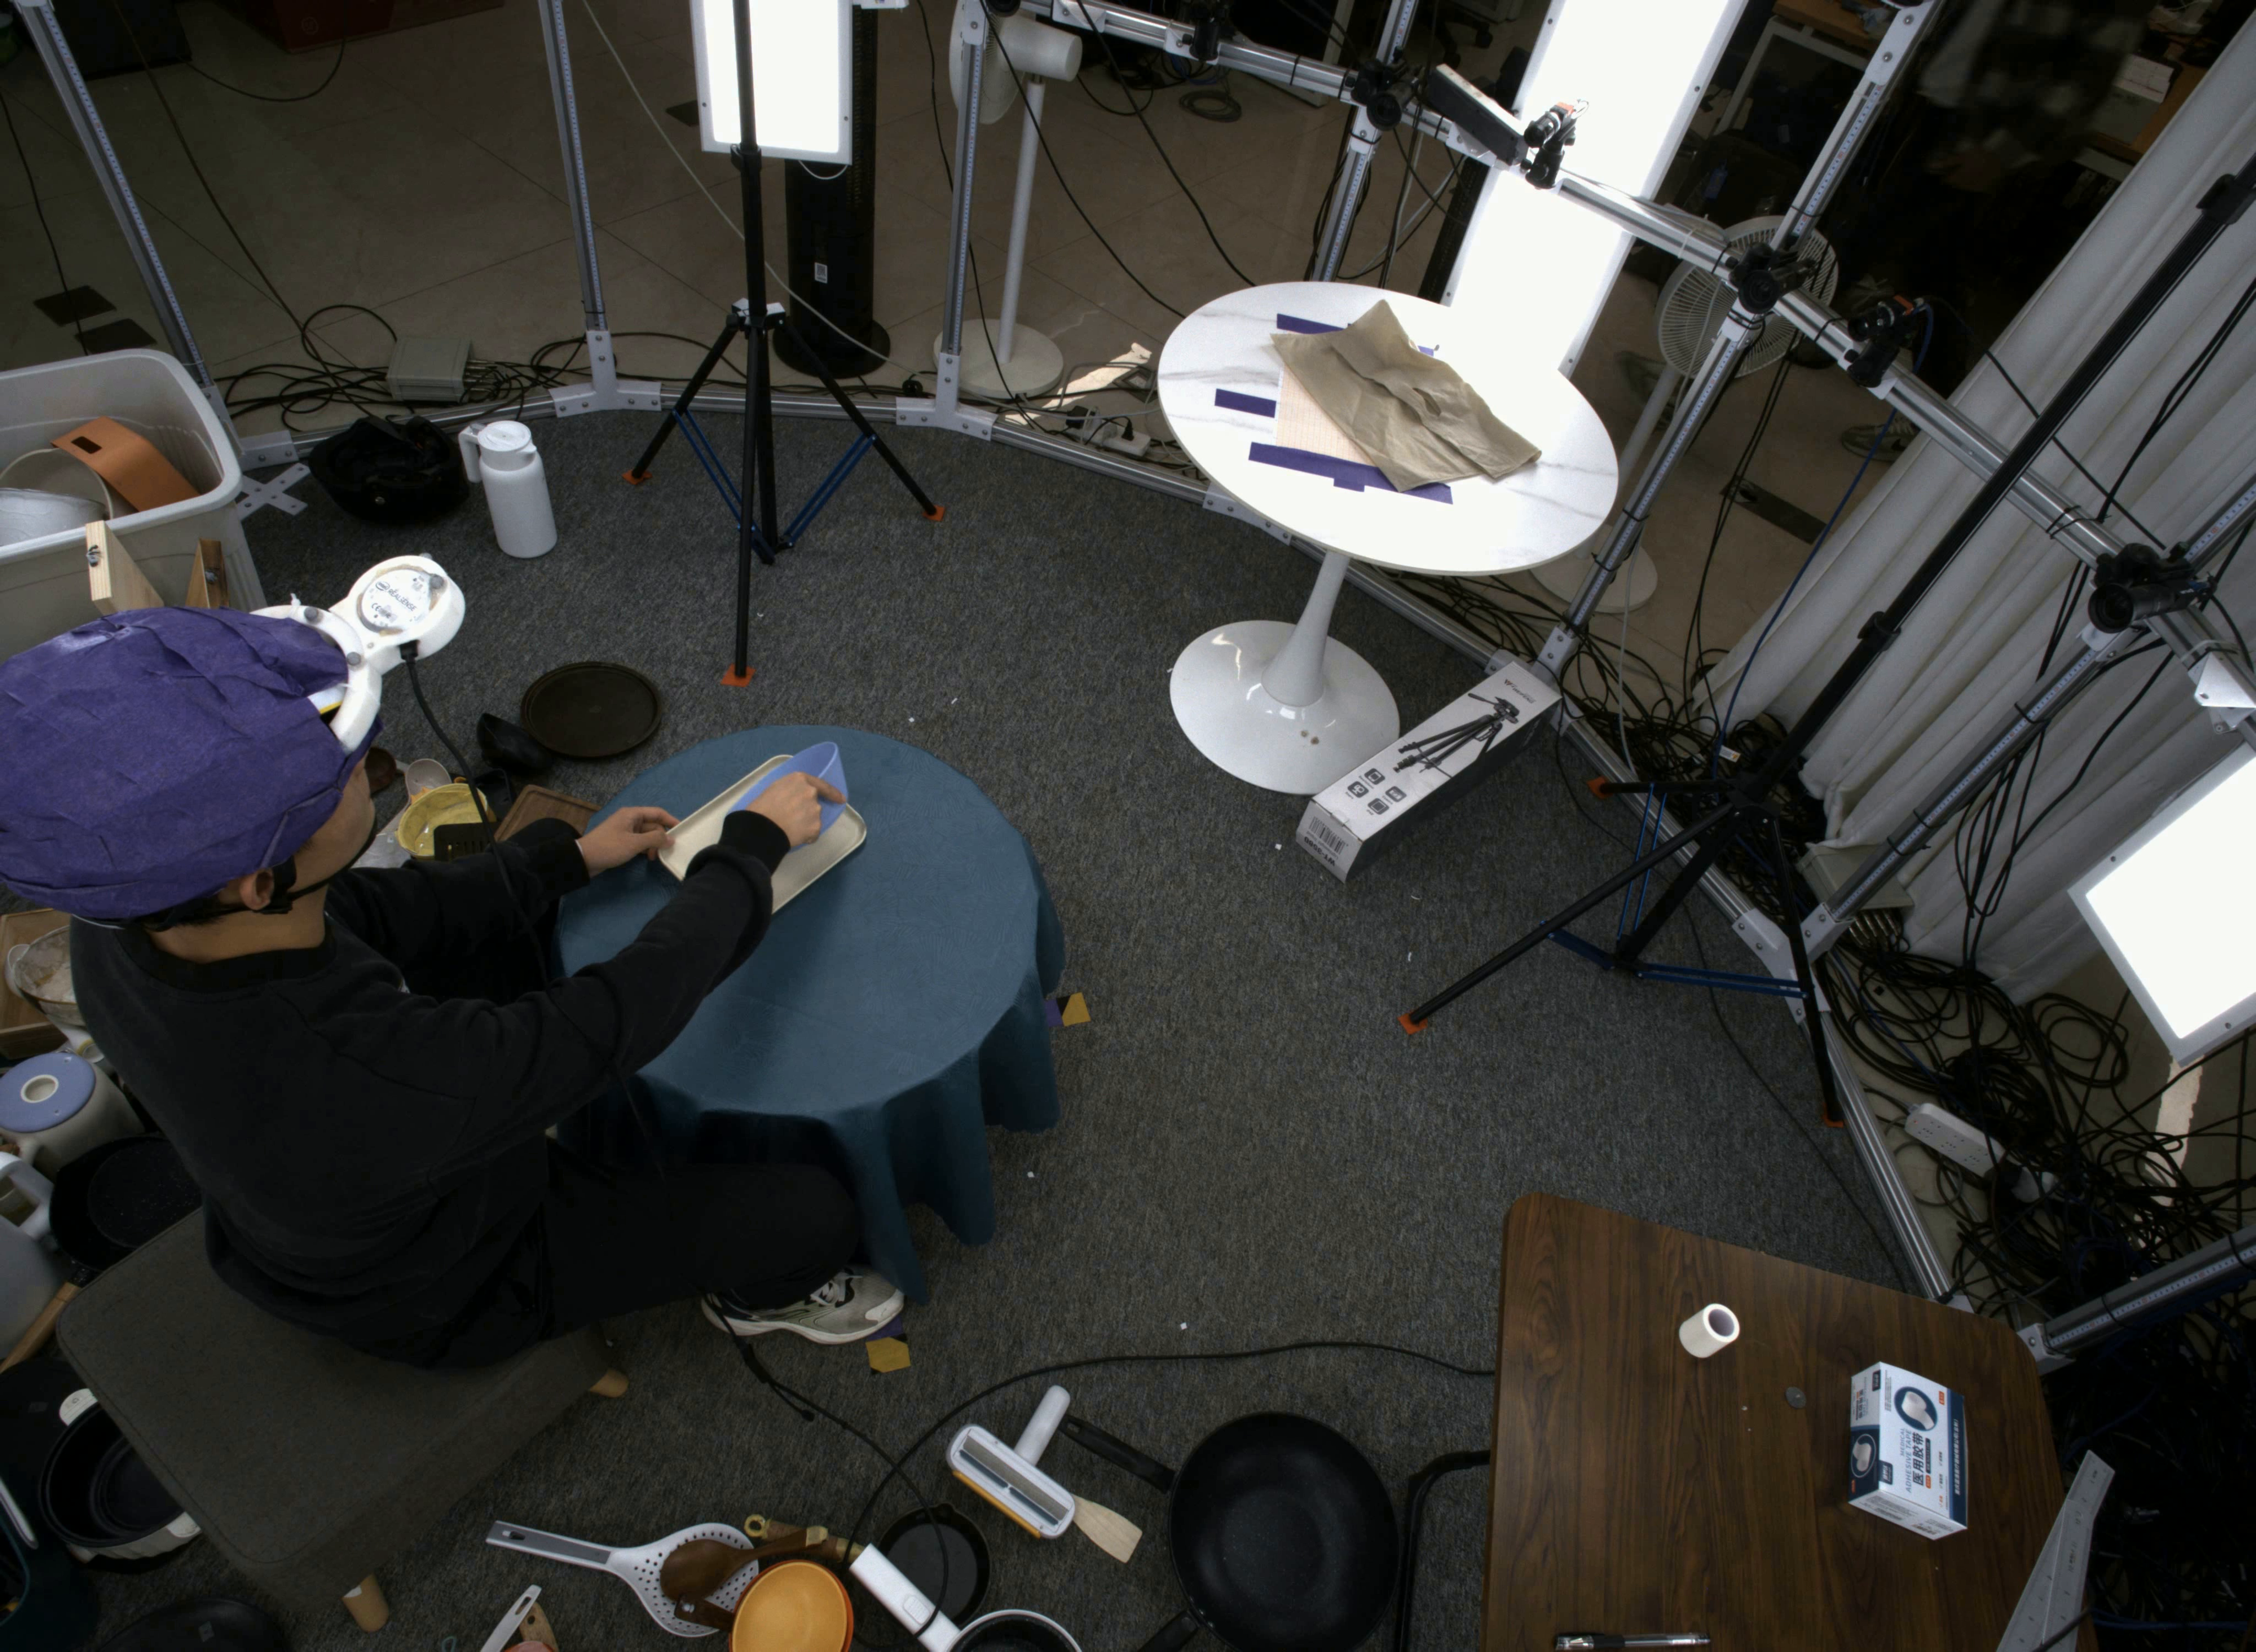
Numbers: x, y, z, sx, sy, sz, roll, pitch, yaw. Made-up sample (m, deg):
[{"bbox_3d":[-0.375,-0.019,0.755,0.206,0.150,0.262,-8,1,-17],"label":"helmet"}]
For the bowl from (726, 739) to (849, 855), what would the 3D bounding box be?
[{"bbox_3d":[-0.418,-0.028,1.635,0.072,0.171,0.175,54,47,-24],"label":"bowl"}]

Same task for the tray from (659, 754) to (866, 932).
[{"bbox_3d":[-0.470,0.019,1.675,0.170,0.017,0.239,43,55,5],"label":"tray"}]
